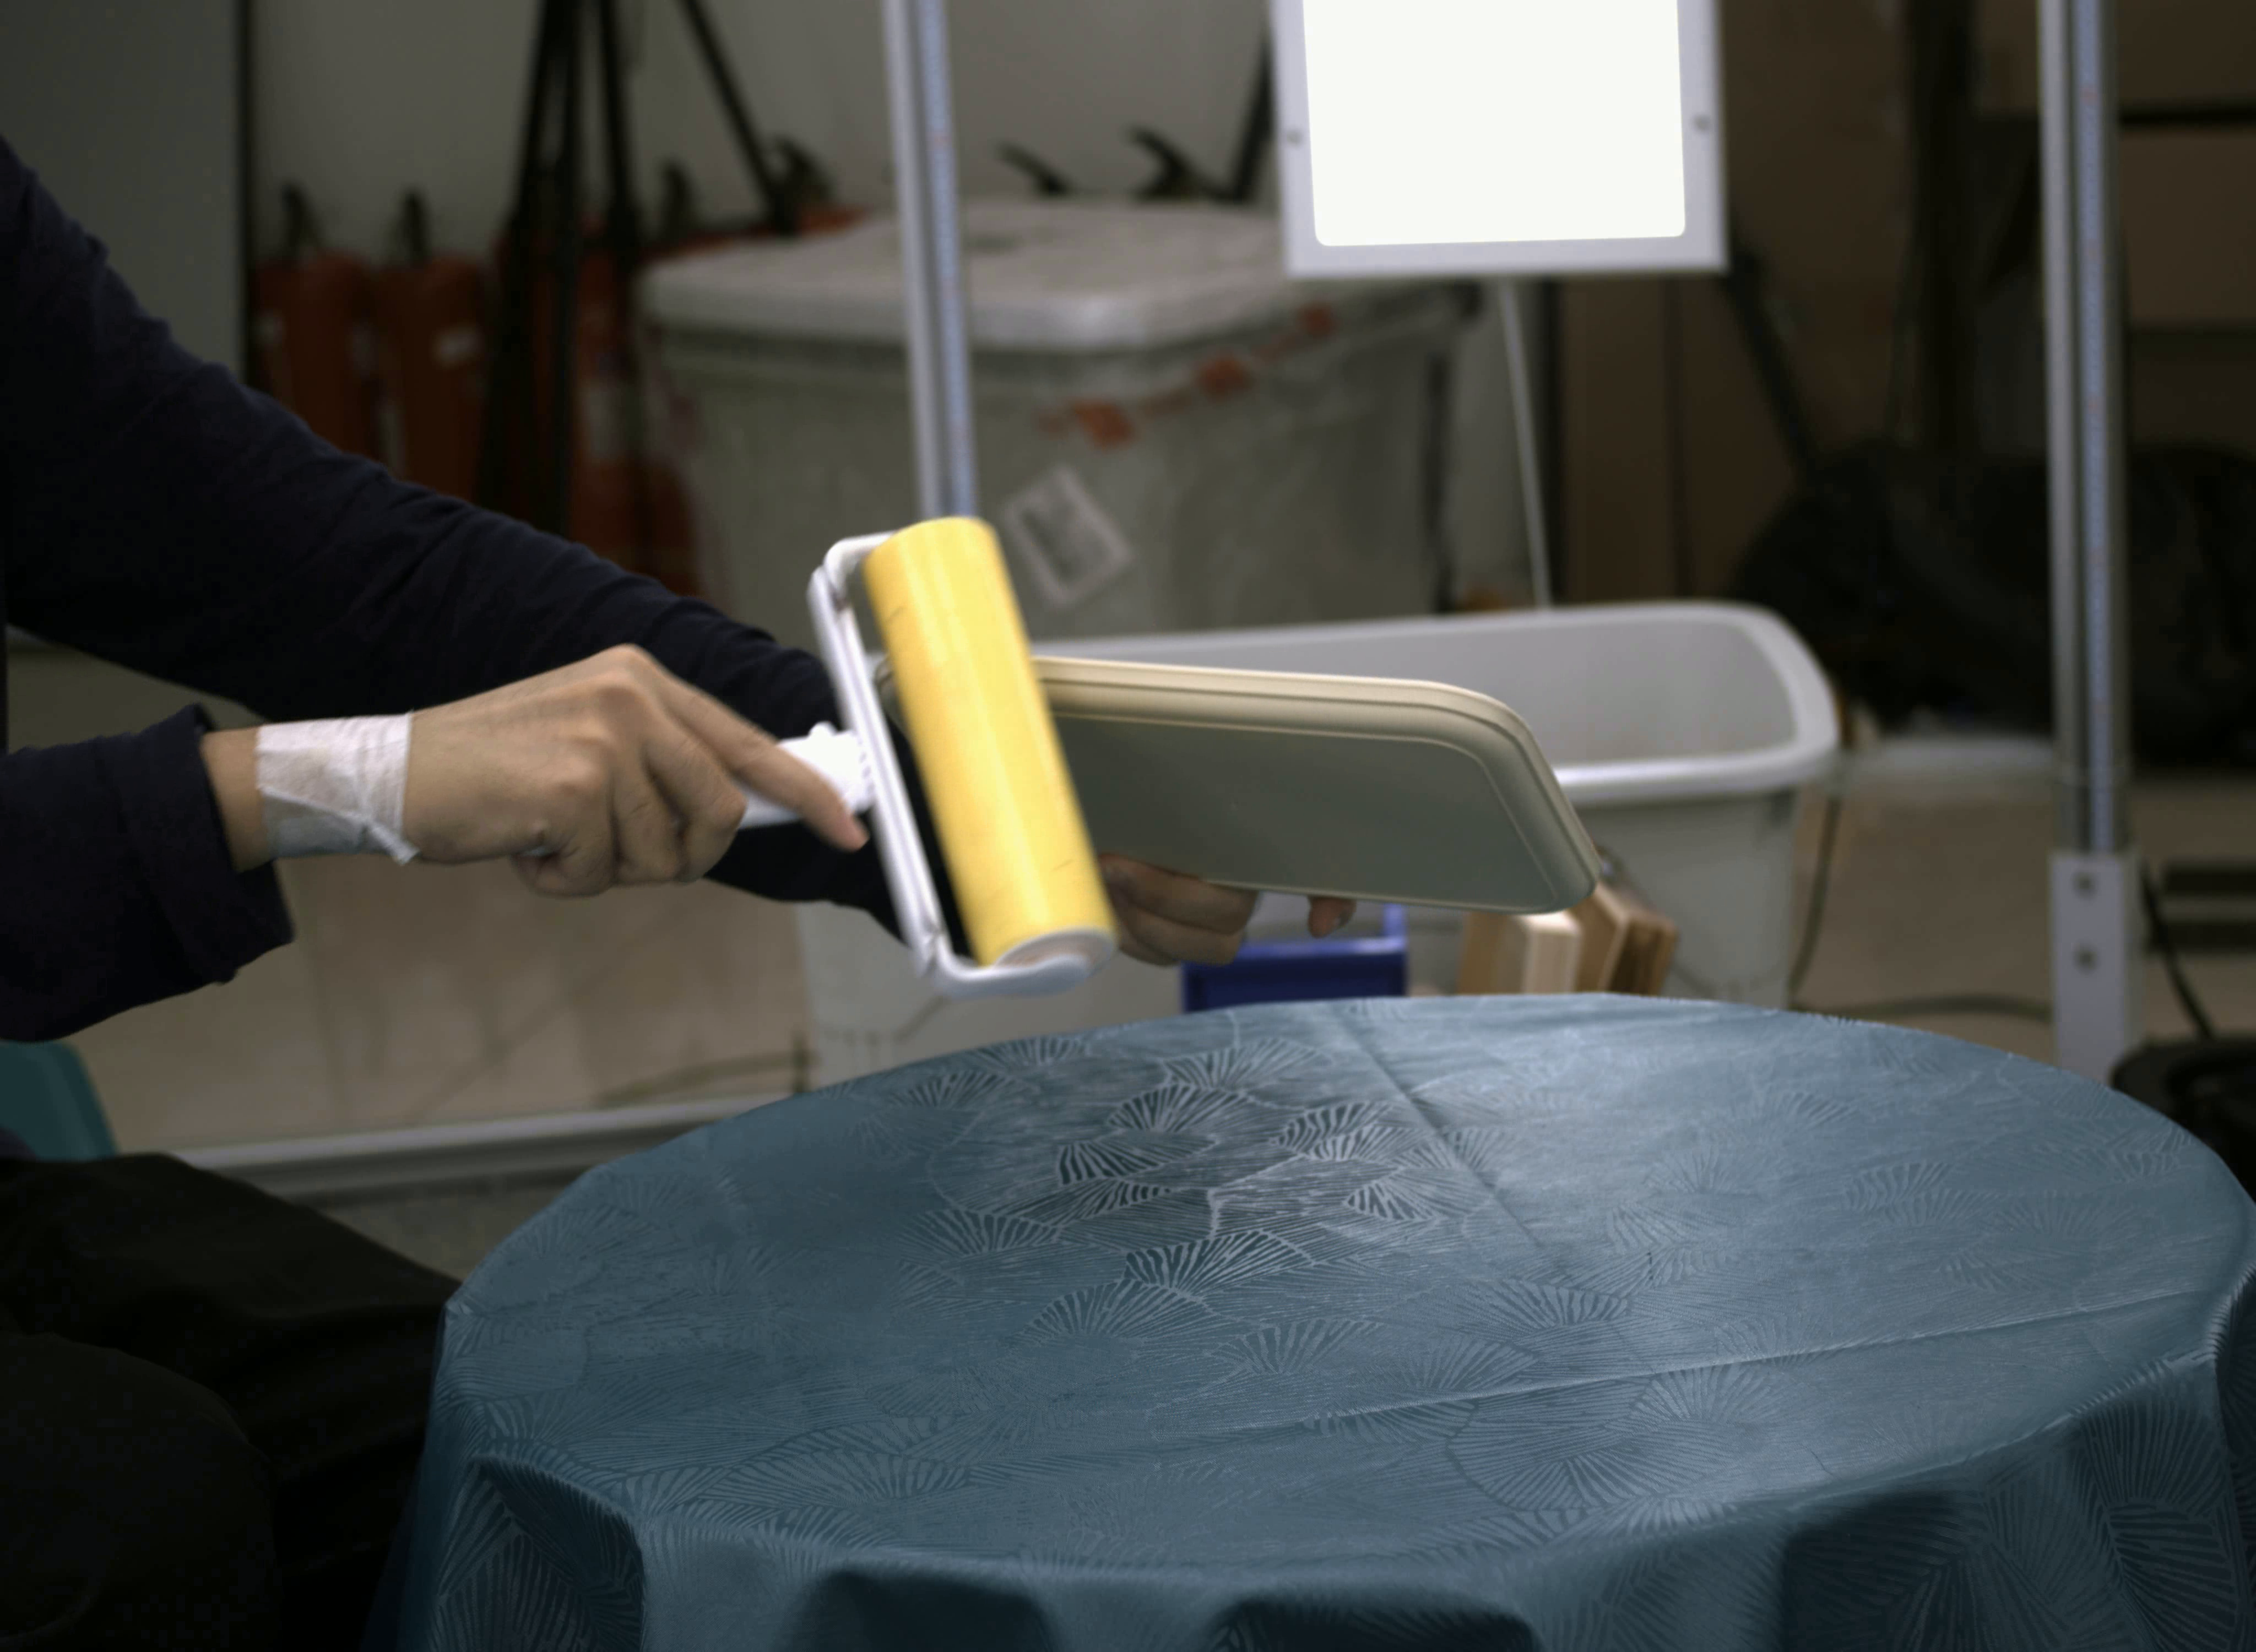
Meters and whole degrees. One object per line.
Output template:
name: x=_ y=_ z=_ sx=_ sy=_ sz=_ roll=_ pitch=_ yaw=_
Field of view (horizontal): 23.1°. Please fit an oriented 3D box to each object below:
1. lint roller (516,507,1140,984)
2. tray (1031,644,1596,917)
lint roller: x=-0.106 y=-0.021 z=1.816 sx=0.188 sy=0.175 sz=0.052 roll=-5 pitch=-30 yaw=-26
tray: x=0.037 y=-0.014 z=1.925 sx=0.243 sy=0.017 sz=0.169 roll=5 pitch=-25 yaw=23
